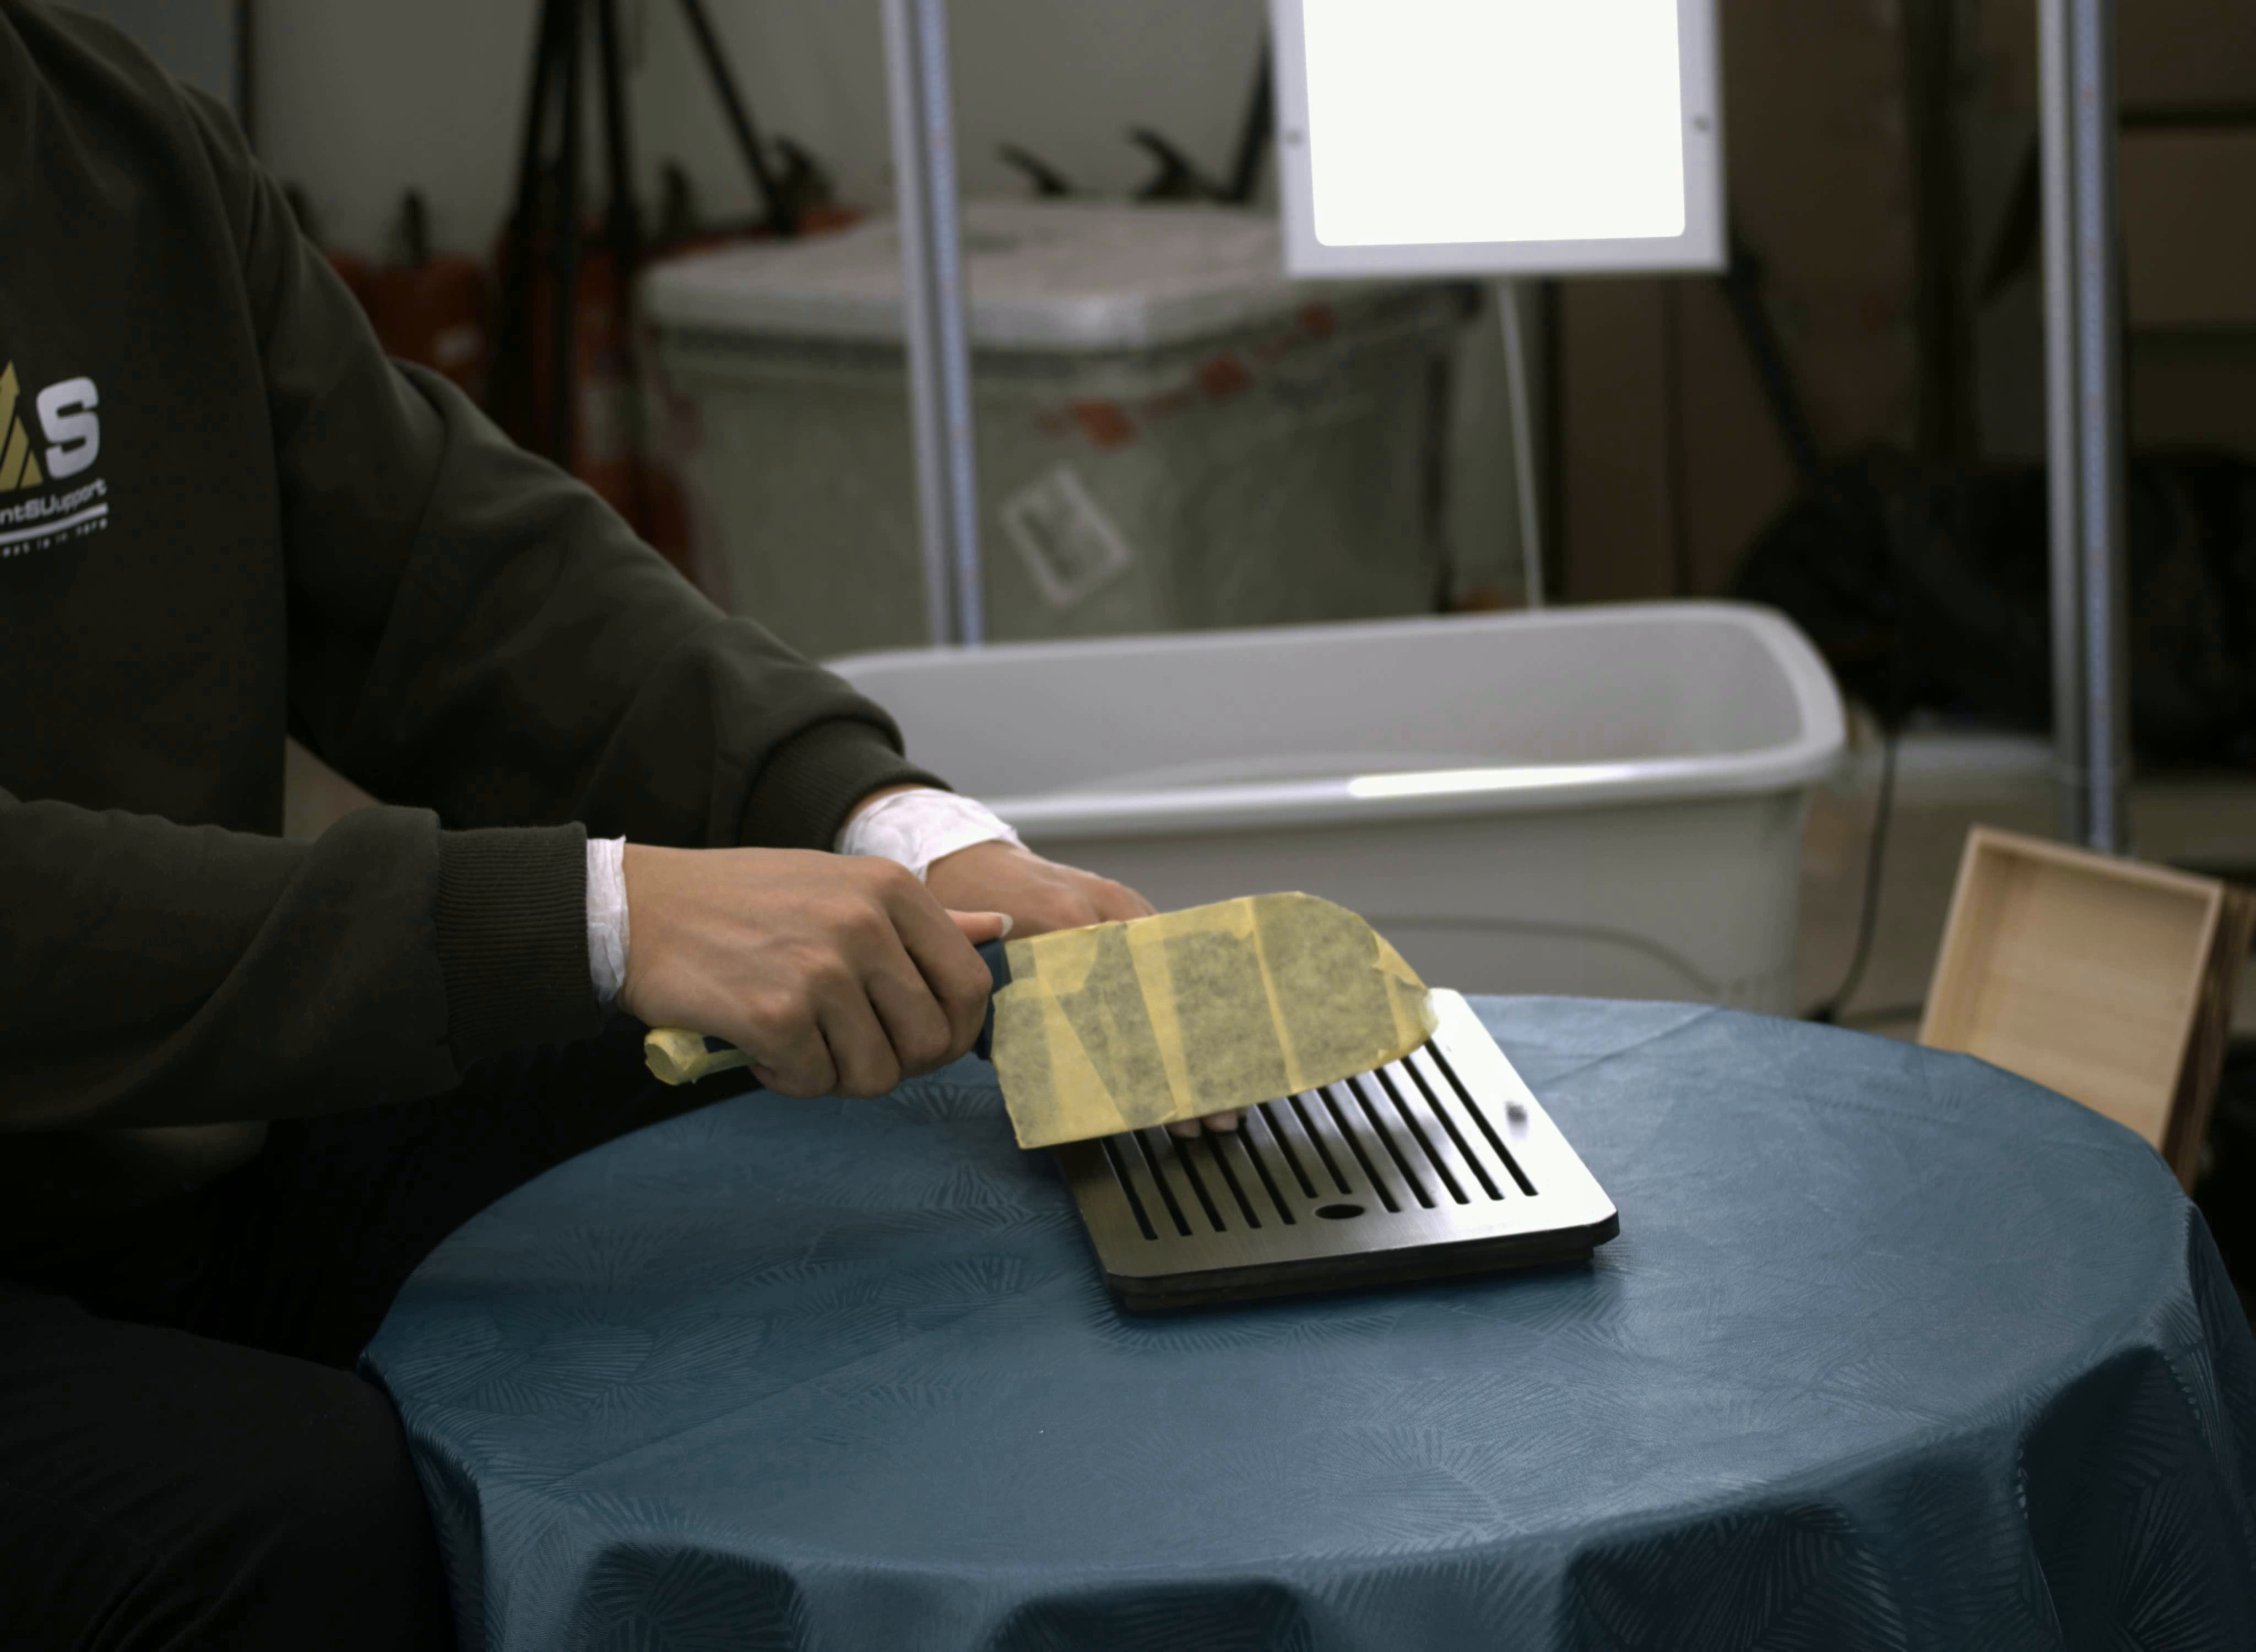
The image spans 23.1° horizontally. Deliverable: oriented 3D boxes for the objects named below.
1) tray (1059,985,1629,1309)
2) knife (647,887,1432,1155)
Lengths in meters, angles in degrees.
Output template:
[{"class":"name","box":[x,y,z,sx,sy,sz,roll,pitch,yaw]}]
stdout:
[{"class":"tray","box":[0.063,0.109,1.913,0.169,0.019,0.307,-7,13,-5]},{"class":"knife","box":[-0.025,0.072,1.891,0.284,0.081,0.027,-8,-15,-19]}]
